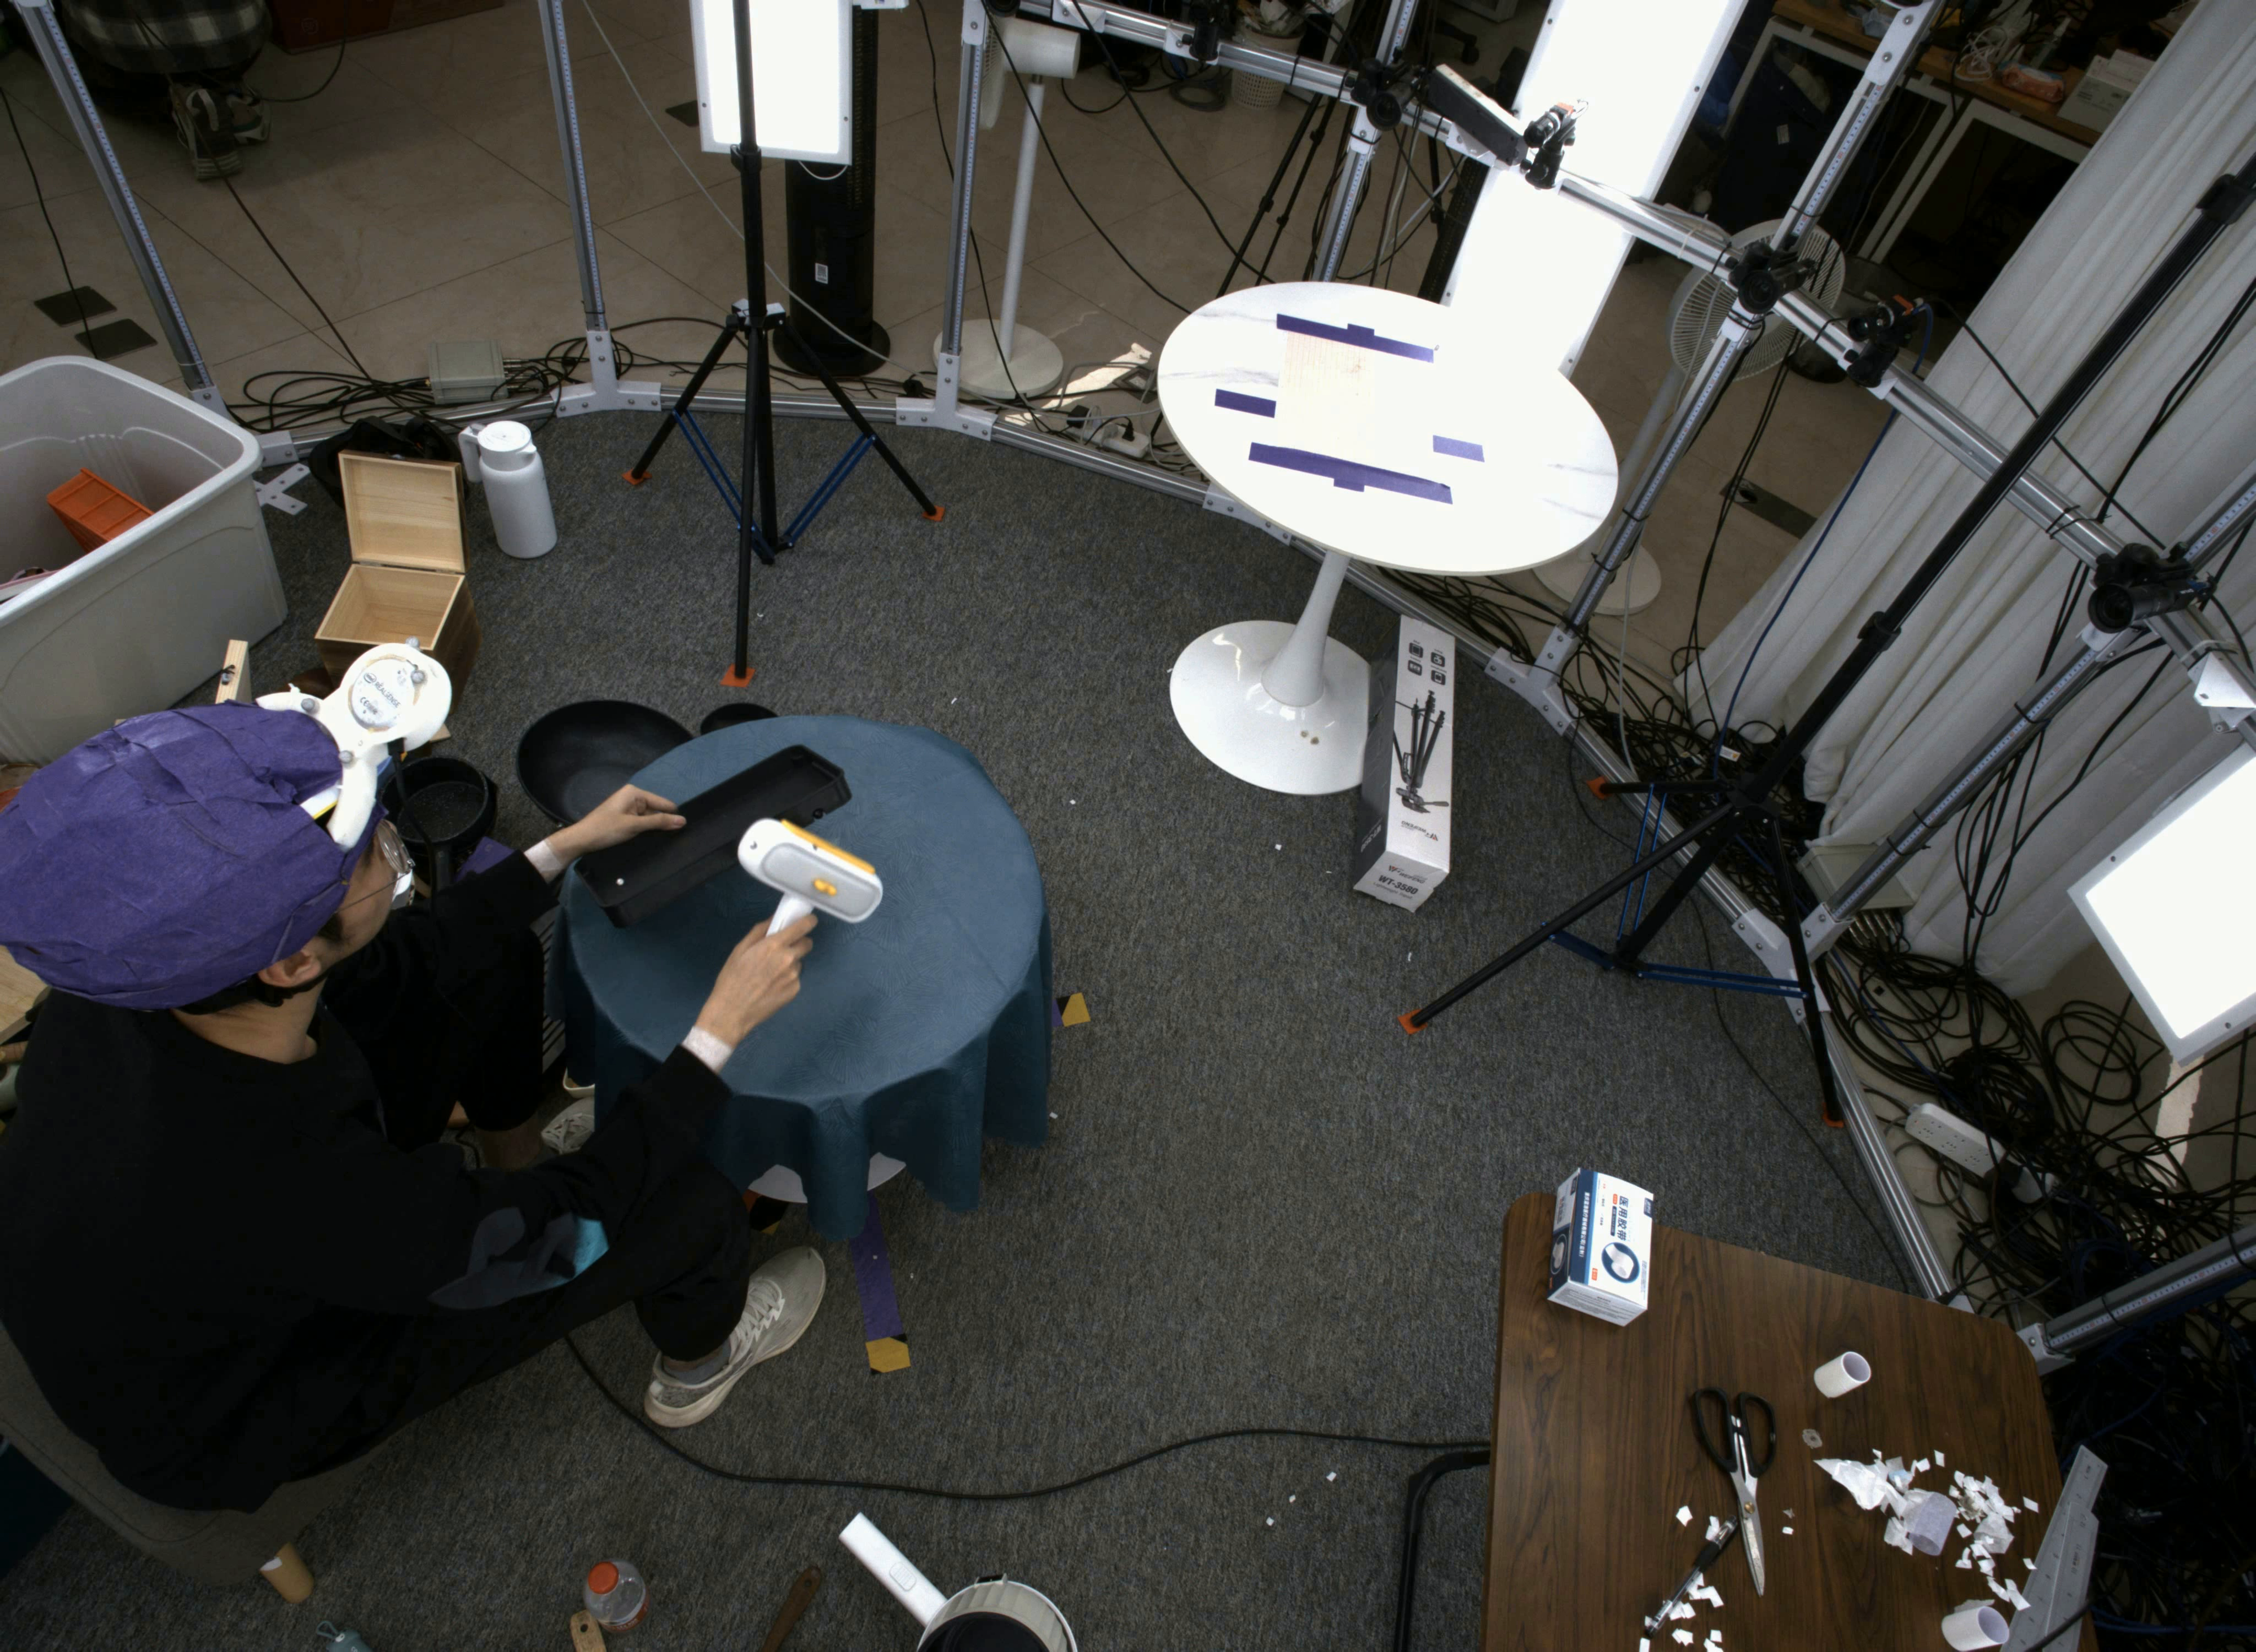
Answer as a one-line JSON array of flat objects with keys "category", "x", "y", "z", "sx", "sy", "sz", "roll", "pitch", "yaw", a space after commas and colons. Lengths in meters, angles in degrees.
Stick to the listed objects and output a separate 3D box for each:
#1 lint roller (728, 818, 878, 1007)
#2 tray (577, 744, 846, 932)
[{"category": "lint roller", "x": -0.384, "y": 0.105, "z": 1.459, "sx": 0.071, "sy": 0.199, "sz": 0.193, "roll": 28, "pitch": 90, "yaw": 35}, {"category": "tray", "x": -0.502, "y": 0.005, "z": 1.544, "sx": 0.318, "sy": 0.038, "sz": 0.177, "roll": -33, "pitch": 31, "yaw": -24}]
